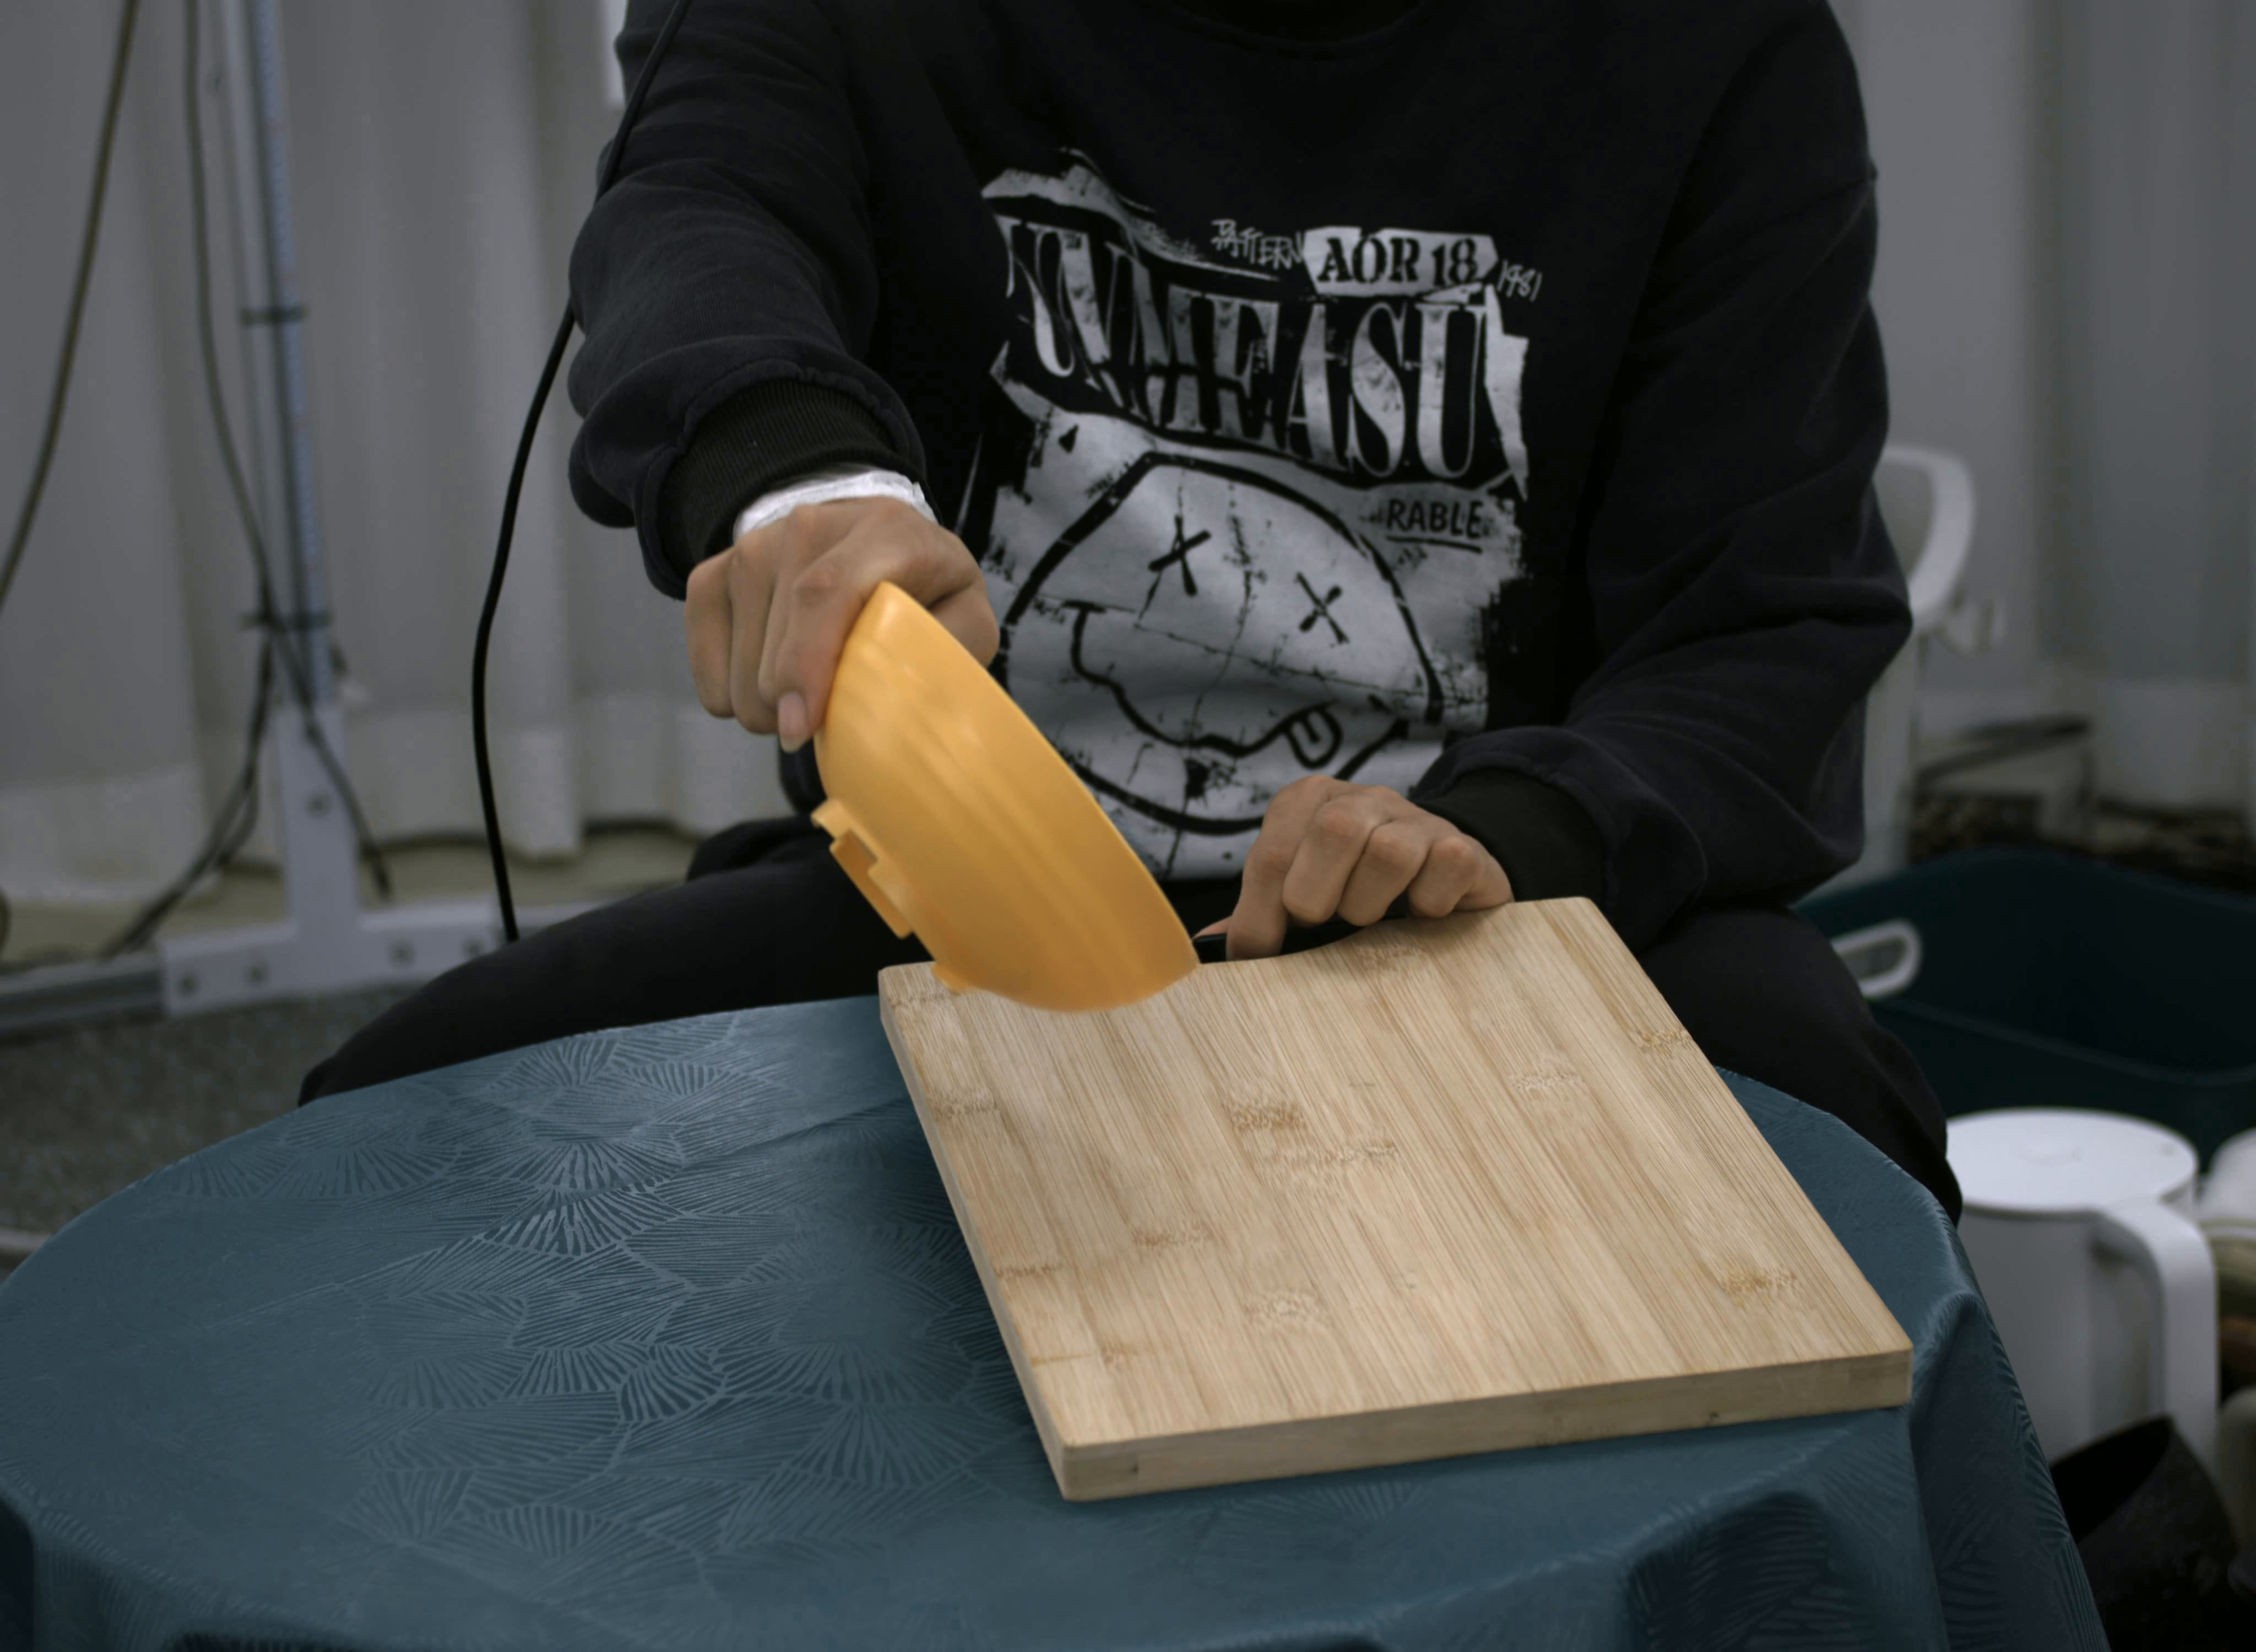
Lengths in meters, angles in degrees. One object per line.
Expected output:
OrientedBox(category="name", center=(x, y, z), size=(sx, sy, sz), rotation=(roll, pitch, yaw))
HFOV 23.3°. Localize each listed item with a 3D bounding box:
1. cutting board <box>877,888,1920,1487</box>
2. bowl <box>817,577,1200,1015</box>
OrientedBox(category="cutting board", center=(0.068, 0.102, 1.643), size=(0.249, 0.023, 0.352), rotation=(-6, 22, -10))
OrientedBox(category="bowl", center=(-0.045, 0.004, 1.551), size=(0.060, 0.144, 0.146), rotation=(-38, 22, -6))
